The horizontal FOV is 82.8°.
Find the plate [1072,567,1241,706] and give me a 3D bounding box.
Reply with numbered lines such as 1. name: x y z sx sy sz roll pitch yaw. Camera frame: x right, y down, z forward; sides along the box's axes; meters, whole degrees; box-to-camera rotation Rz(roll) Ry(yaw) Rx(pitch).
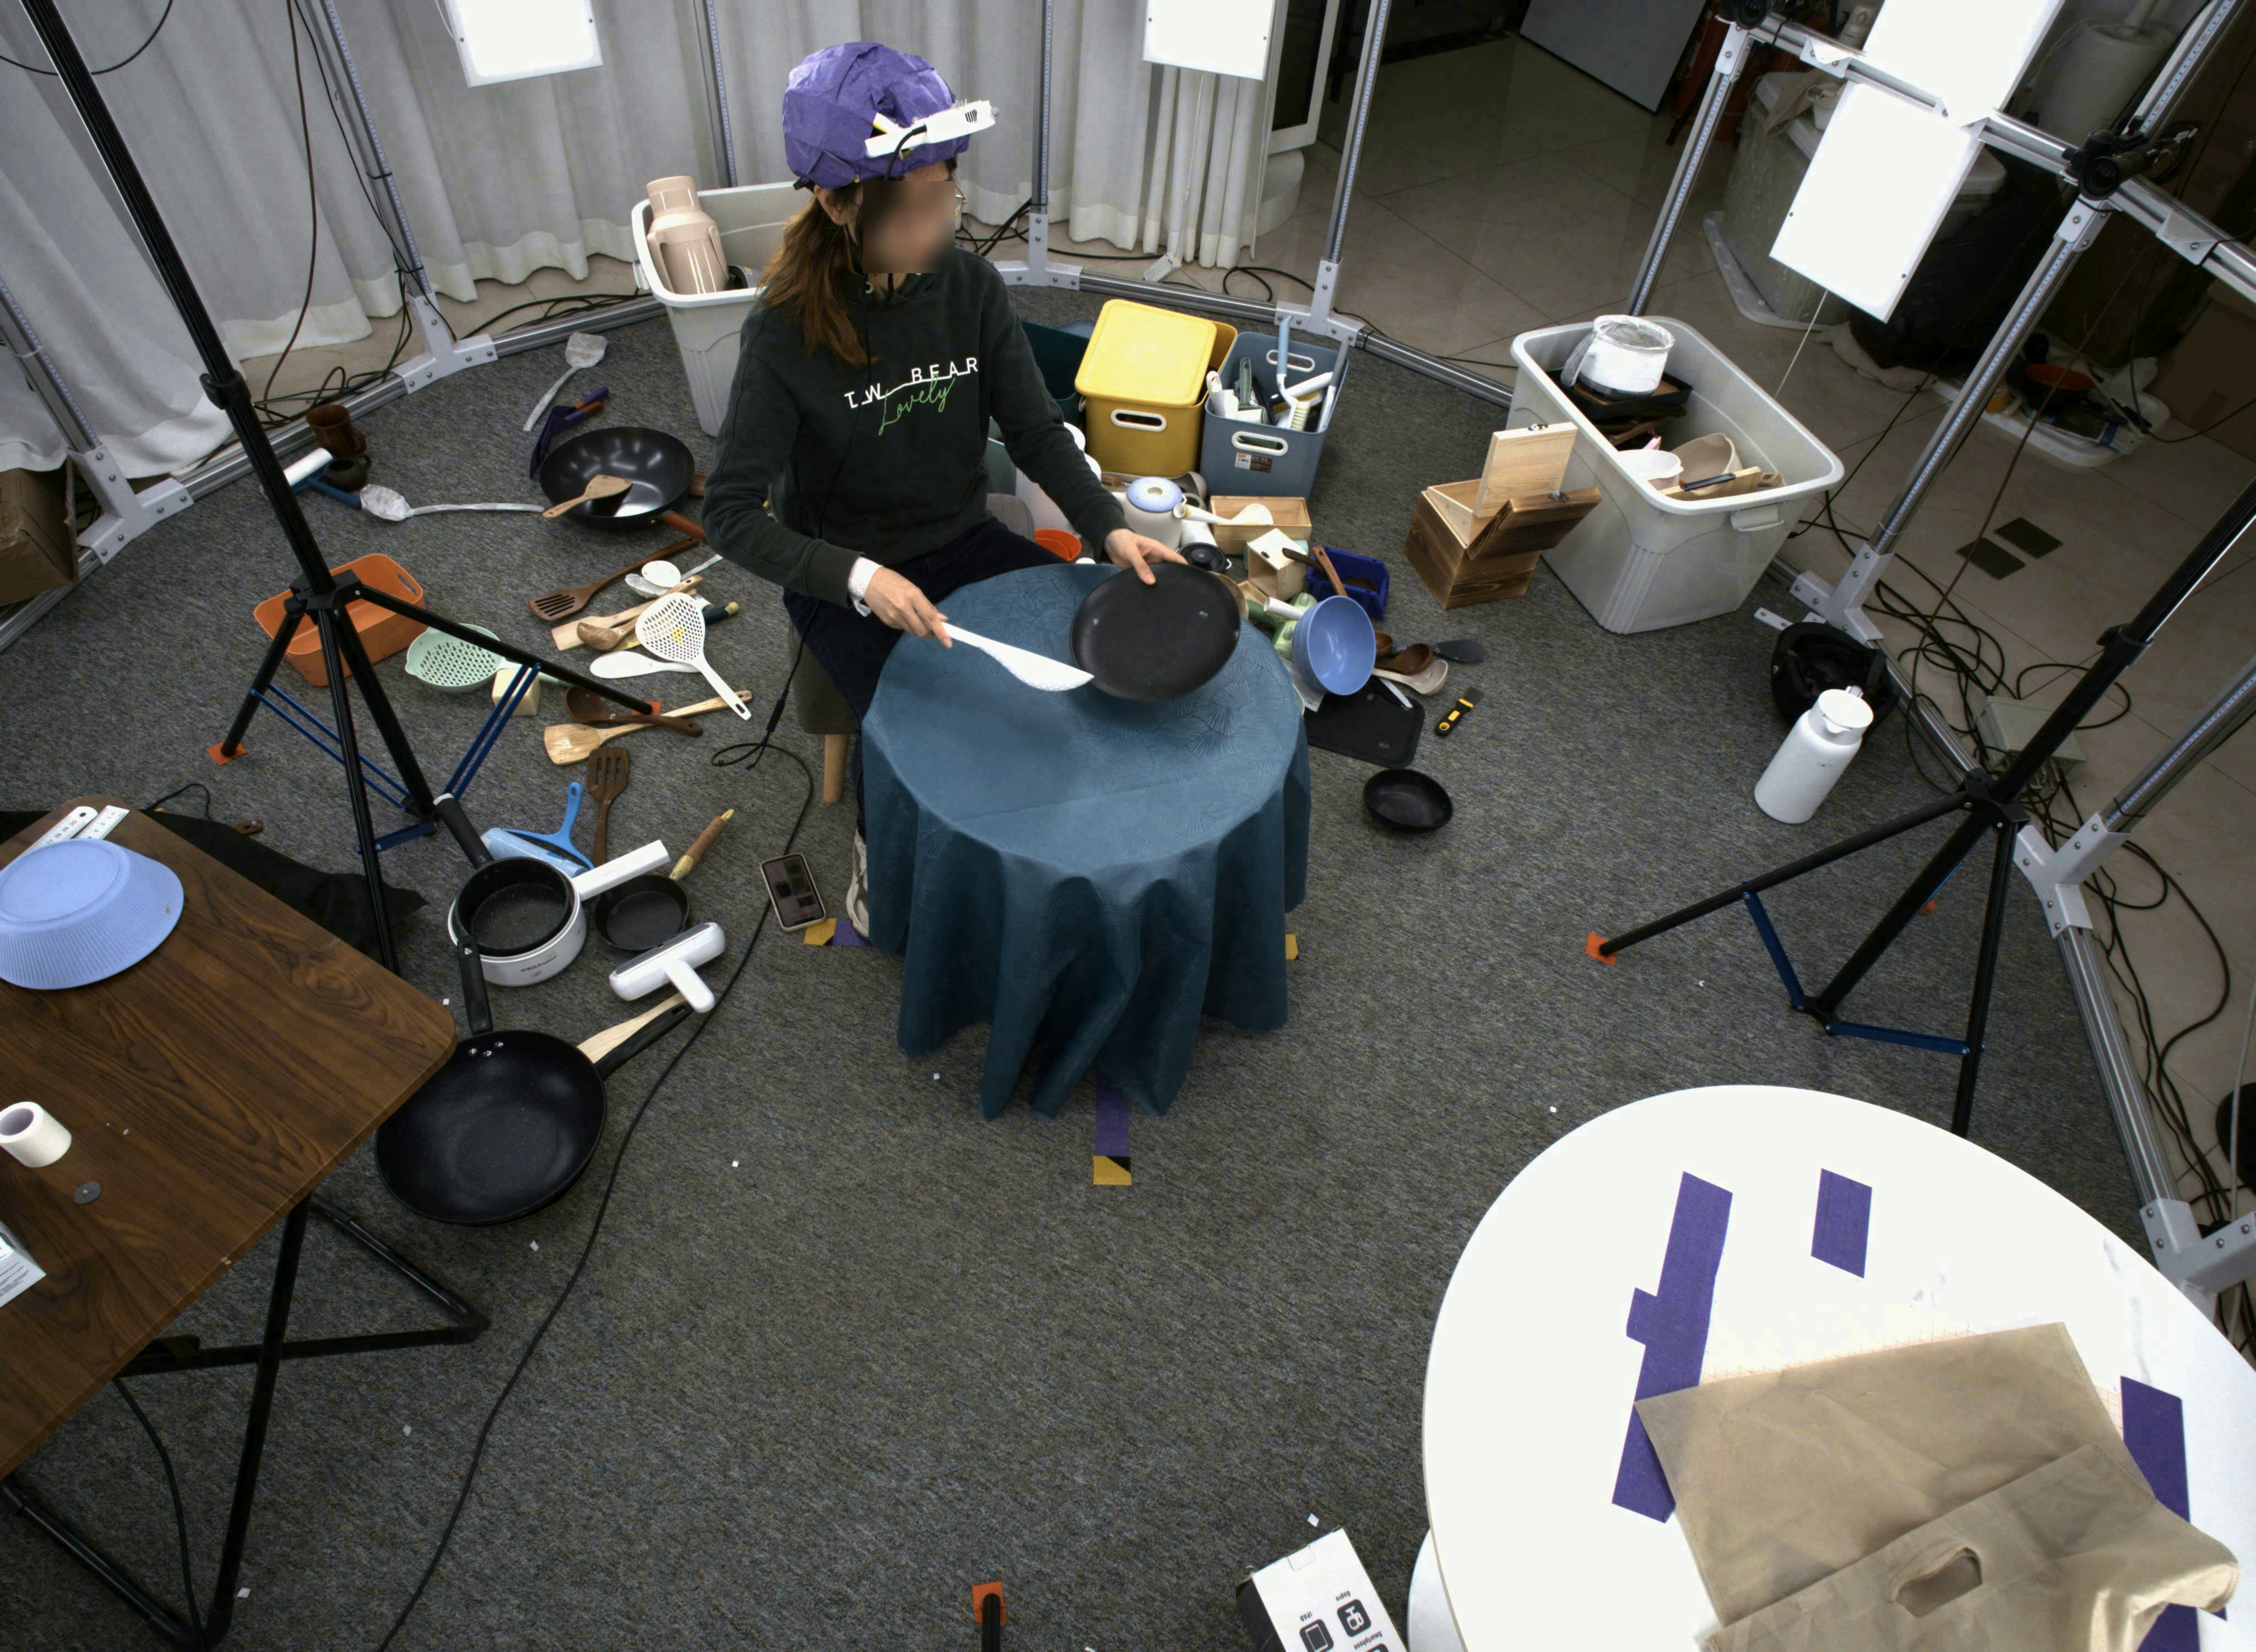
1. plate: 0.041 -0.268 1.825 0.244 0.023 0.250 -5 58 9

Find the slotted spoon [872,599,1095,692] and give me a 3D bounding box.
1. slotted spoon: -0.203 -0.250 1.742 0.353 0.045 0.135 27 9 22
